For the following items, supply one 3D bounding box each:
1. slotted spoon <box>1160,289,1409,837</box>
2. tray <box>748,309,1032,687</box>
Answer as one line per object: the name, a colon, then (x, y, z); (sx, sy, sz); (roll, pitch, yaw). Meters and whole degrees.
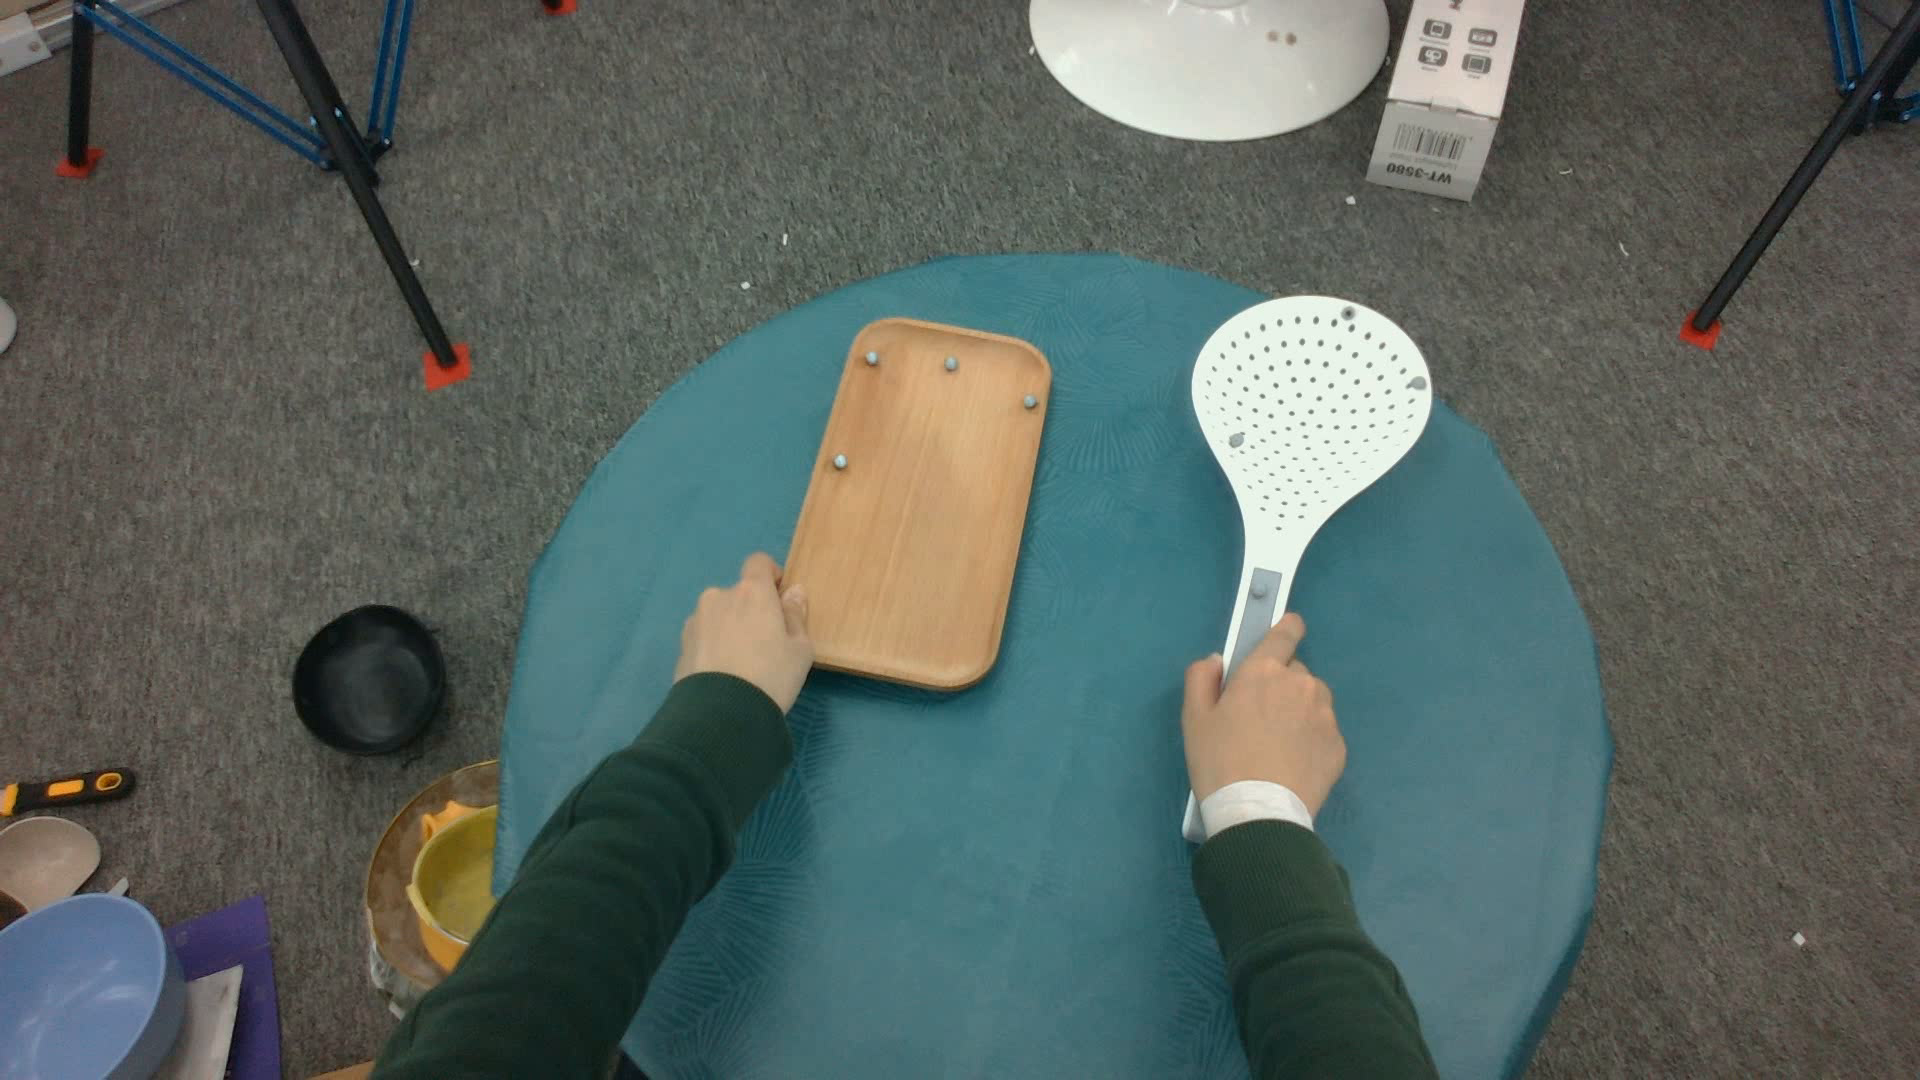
slotted spoon: (0.165, 0.000, 0.773); (0.136, 0.045, 0.351); (12, 58, 14)
tray: (-0.035, -0.032, 0.805); (0.130, 0.023, 0.252); (10, 58, 4)
